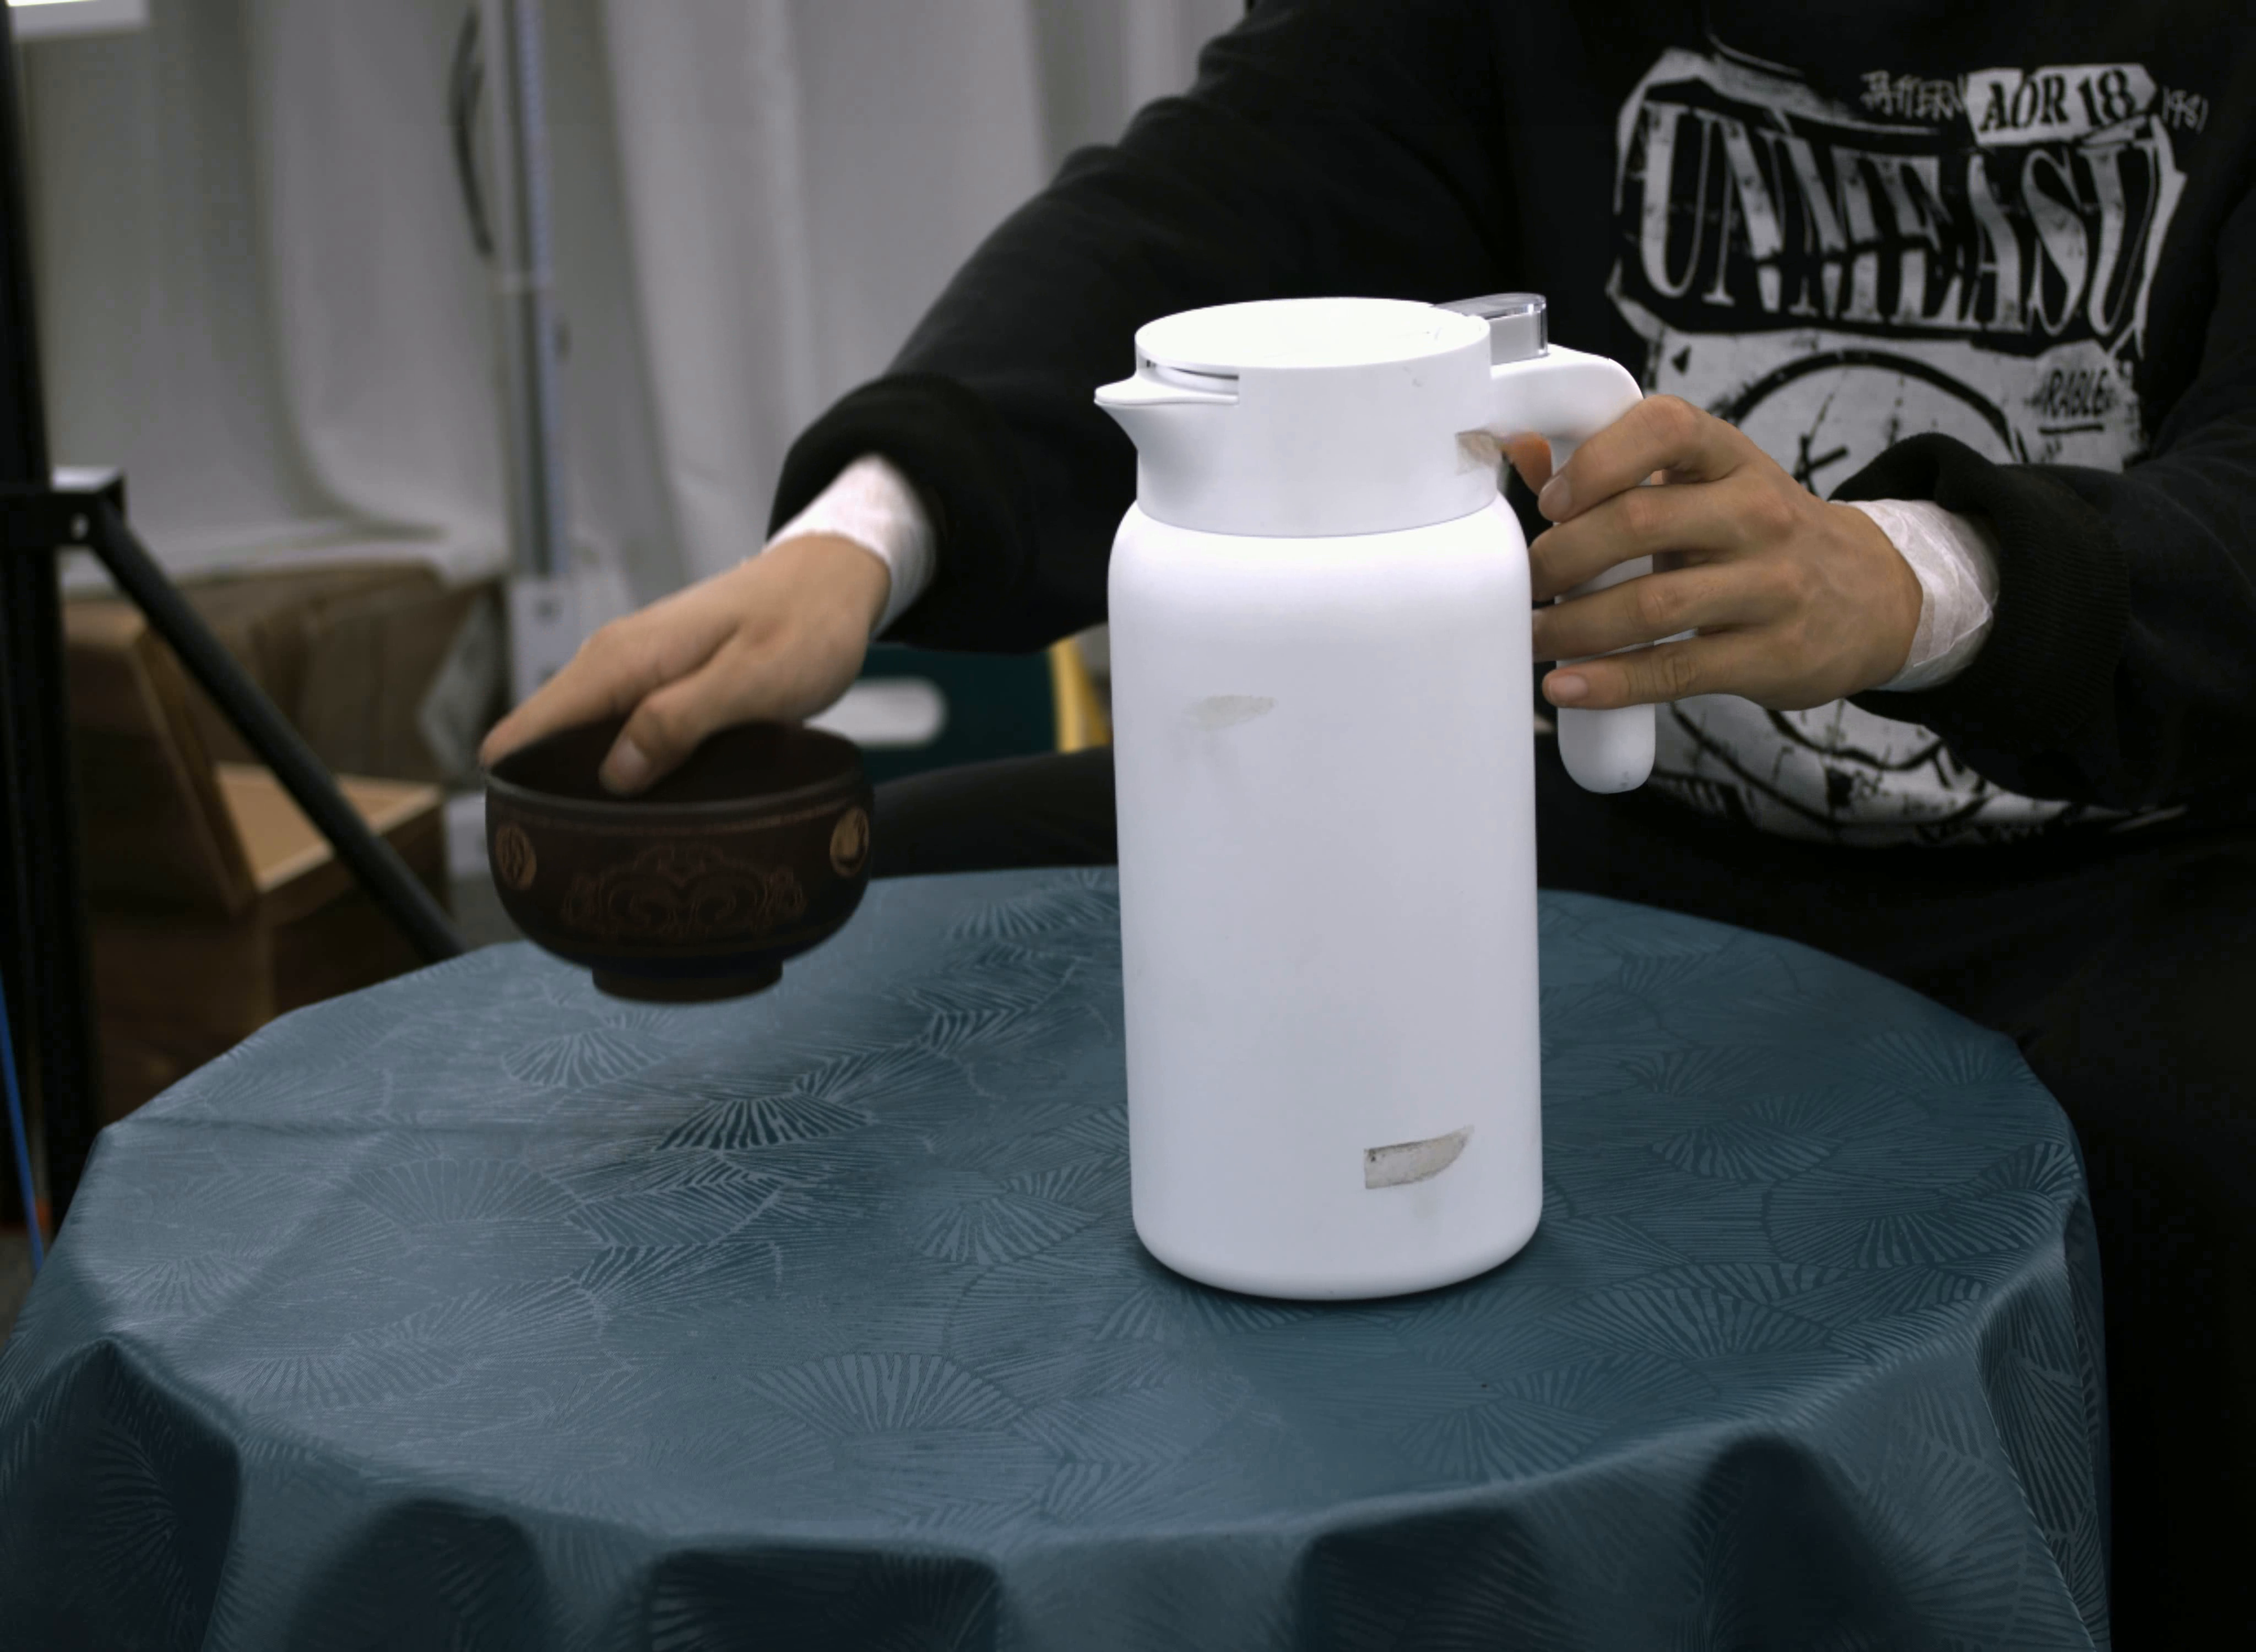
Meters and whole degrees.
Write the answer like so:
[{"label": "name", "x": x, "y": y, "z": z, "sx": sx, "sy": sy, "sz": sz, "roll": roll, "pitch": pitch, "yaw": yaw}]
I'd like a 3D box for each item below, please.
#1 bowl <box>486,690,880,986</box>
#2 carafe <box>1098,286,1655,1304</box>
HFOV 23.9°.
[{"label": "bowl", "x": -0.132, "y": 0.007, "z": 1.599, "sx": 0.117, "sy": 0.070, "sz": 0.118, "roll": -2, "pitch": 16, "yaw": -1}, {"label": "carafe", "x": 0.070, "y": -0.013, "z": 1.481, "sx": 0.169, "sy": 0.269, "sz": 0.126, "roll": -11, "pitch": 15, "yaw": -29}]
